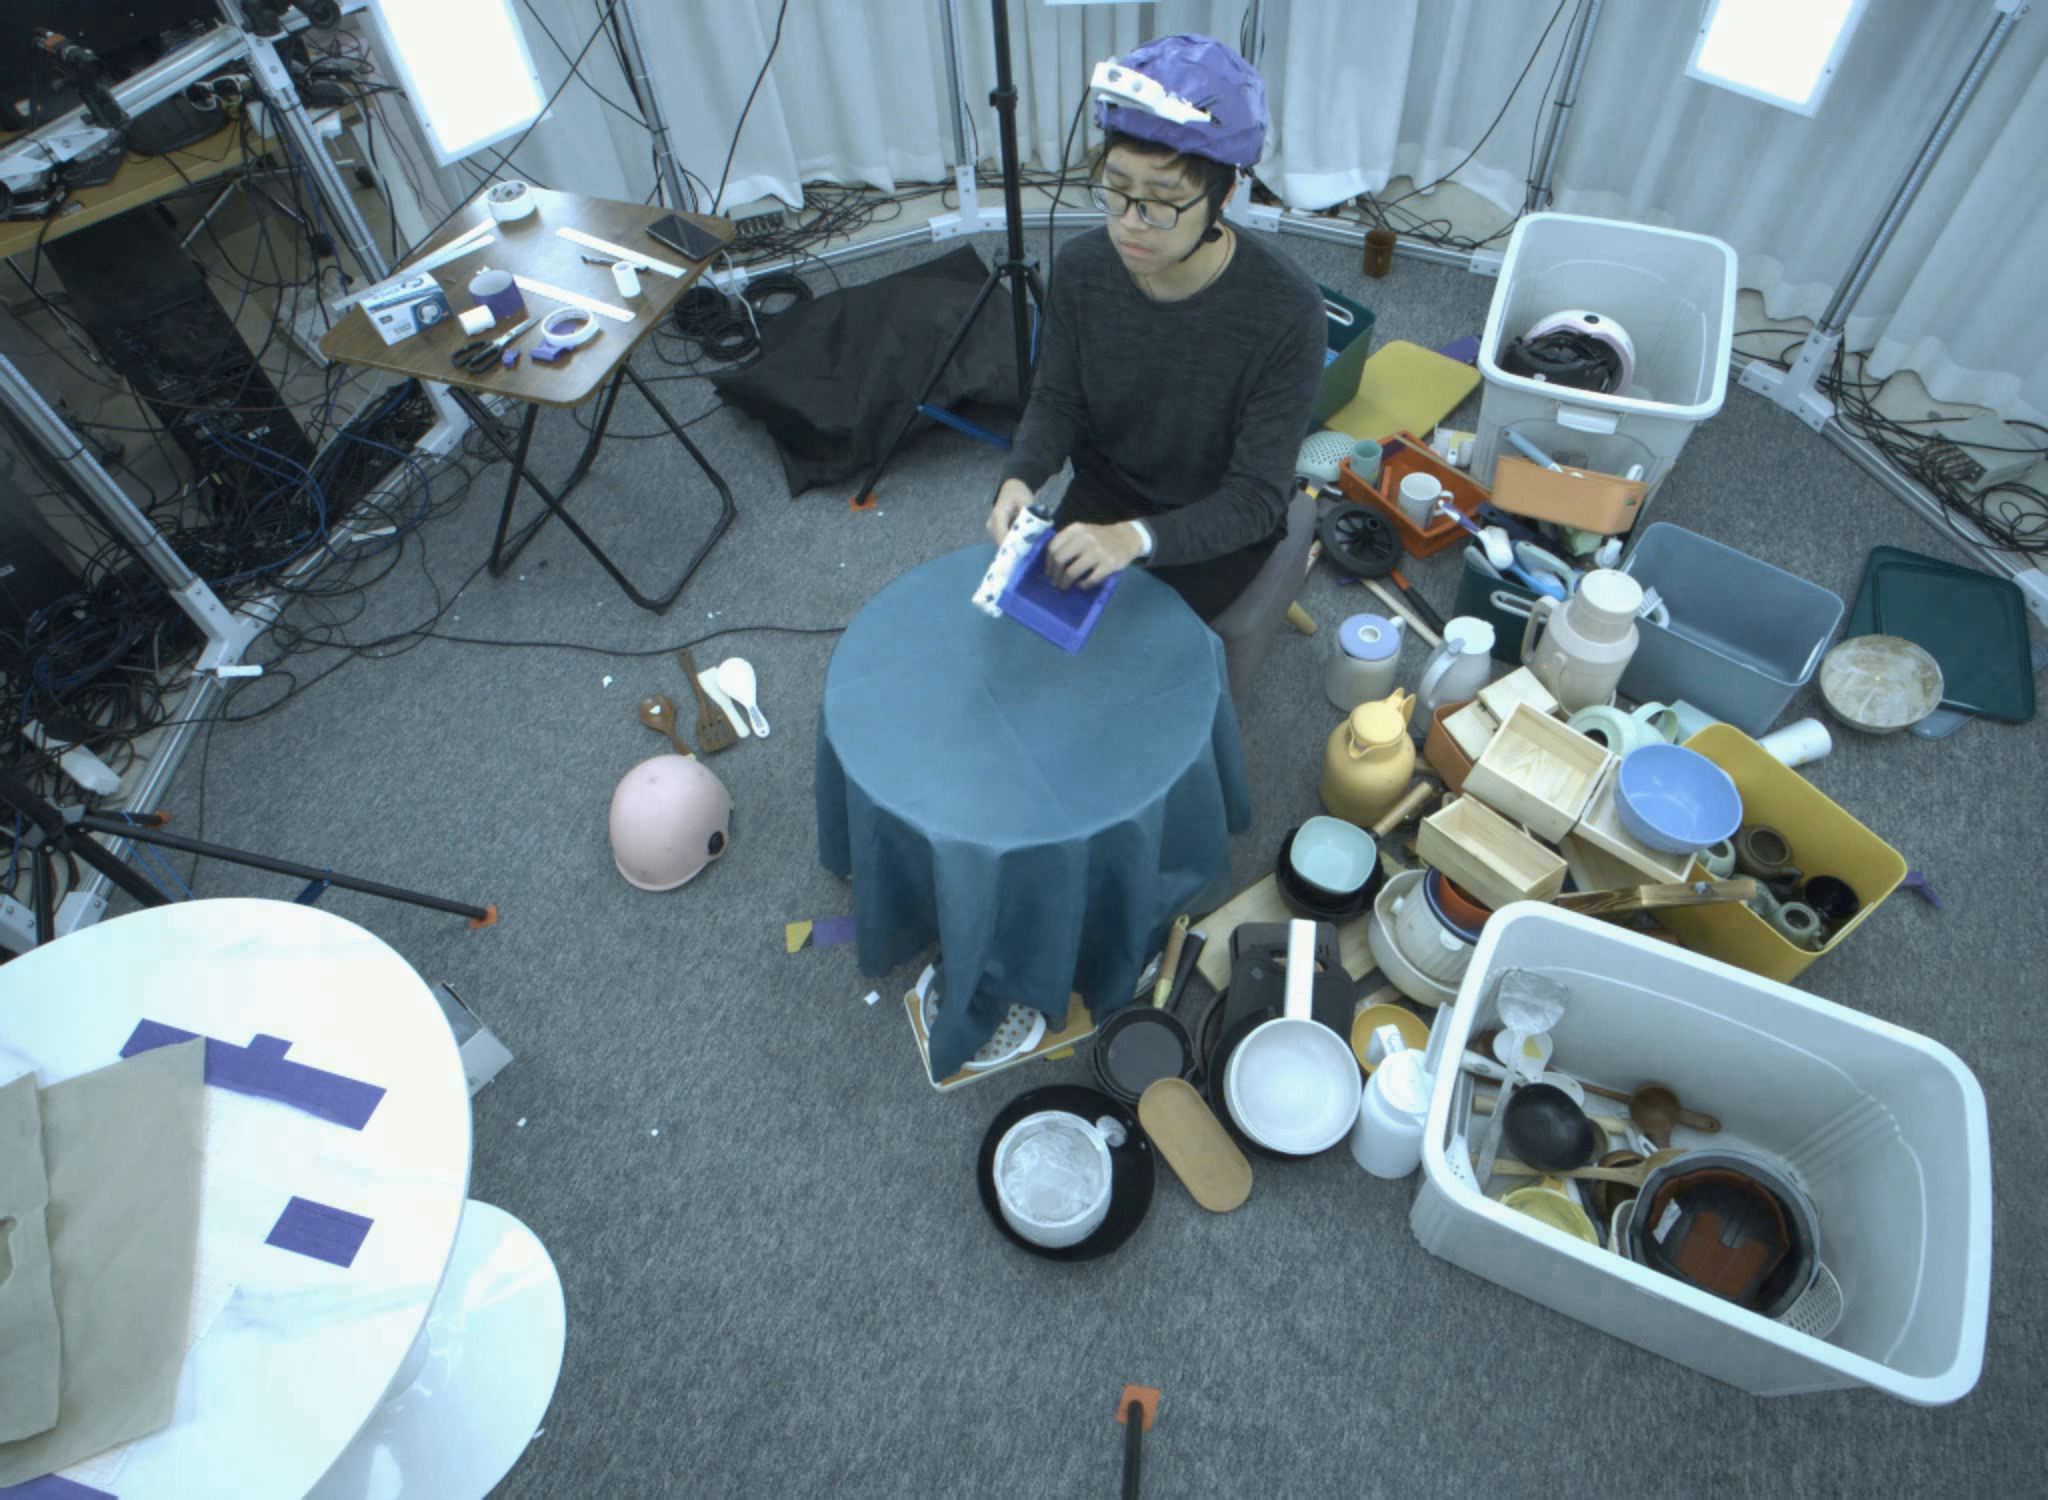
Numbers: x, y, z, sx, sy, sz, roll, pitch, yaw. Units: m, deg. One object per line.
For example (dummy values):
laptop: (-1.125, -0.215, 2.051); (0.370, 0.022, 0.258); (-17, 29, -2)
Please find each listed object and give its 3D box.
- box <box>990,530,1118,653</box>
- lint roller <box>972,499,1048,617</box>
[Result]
box: (0.041, -0.204, 1.615); (0.125, 0.081, 0.179); (33, 27, -2)
lint roller: (-0.018, -0.314, 1.829); (0.051, 0.176, 0.245); (24, 25, -11)
